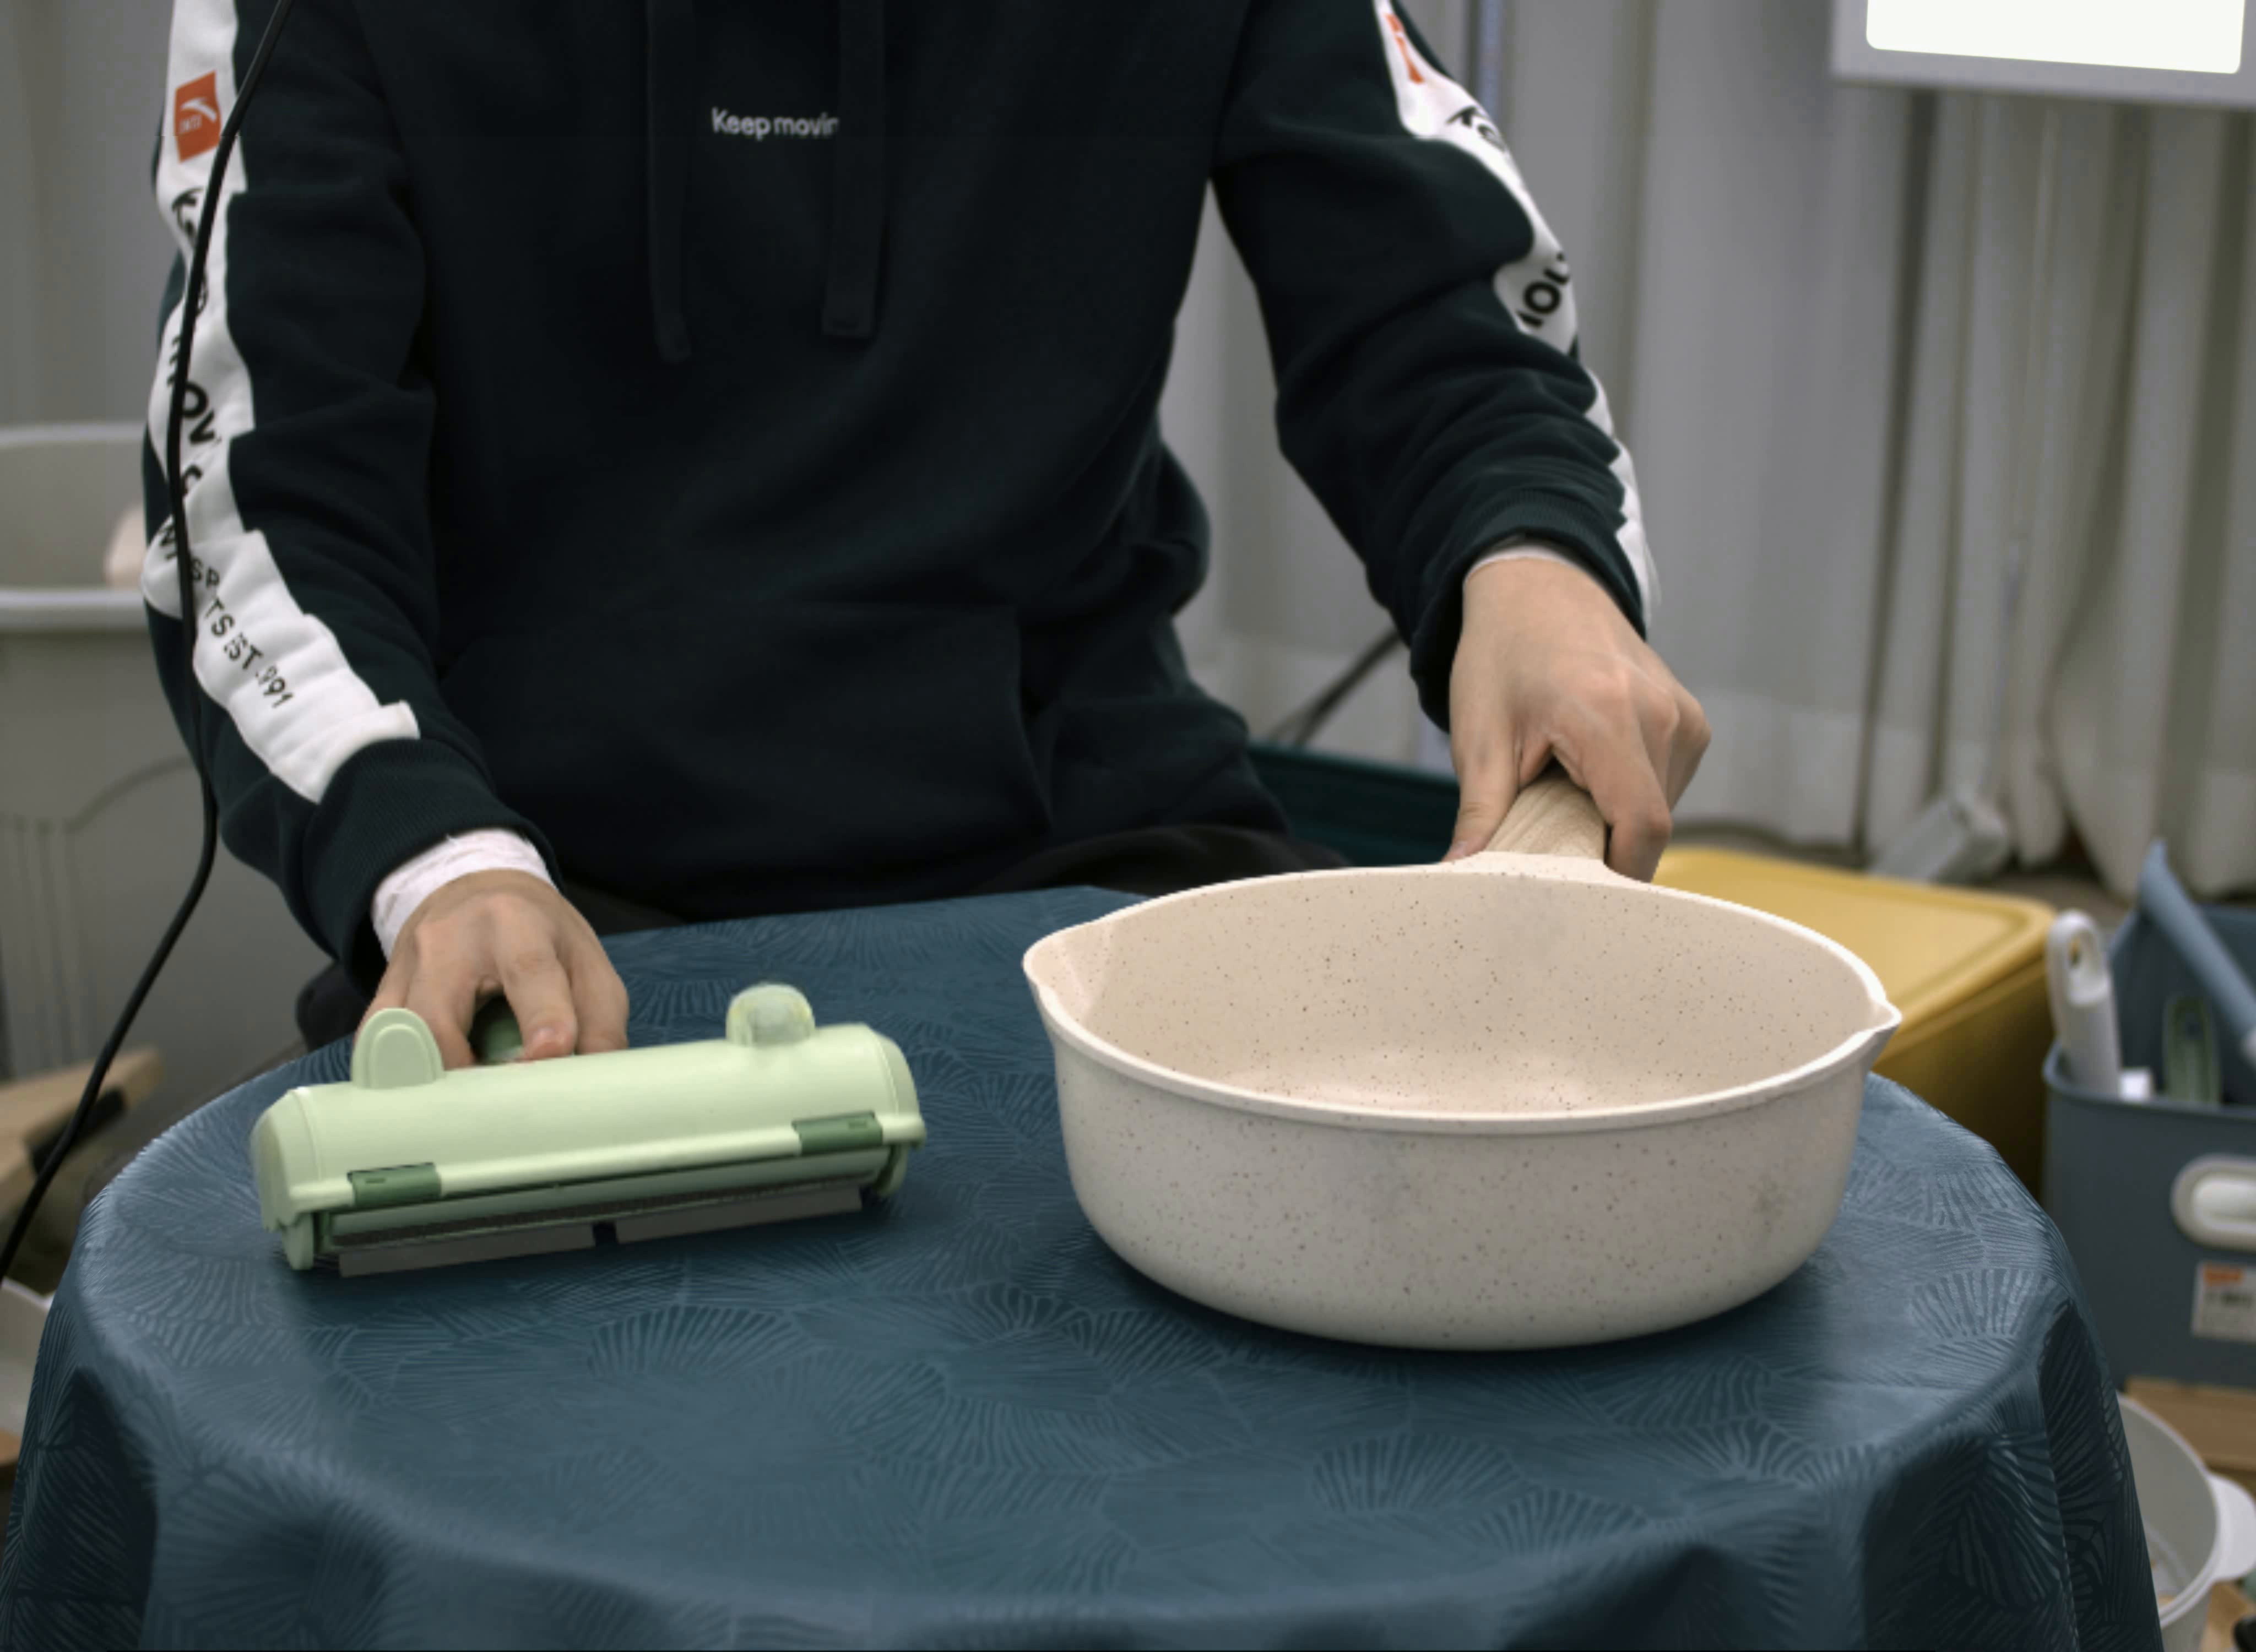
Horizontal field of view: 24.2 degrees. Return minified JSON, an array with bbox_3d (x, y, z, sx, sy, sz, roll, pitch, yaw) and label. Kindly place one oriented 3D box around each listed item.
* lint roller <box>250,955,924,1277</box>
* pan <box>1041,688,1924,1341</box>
[{"bbox_3d":[-0.181,0.066,1.616,0.199,0.083,0.181,-7,26,-20],"label":"lint roller"},{"bbox_3d":[0.124,0.054,1.648,0.261,0.103,0.434,2,15,13],"label":"pan"}]
